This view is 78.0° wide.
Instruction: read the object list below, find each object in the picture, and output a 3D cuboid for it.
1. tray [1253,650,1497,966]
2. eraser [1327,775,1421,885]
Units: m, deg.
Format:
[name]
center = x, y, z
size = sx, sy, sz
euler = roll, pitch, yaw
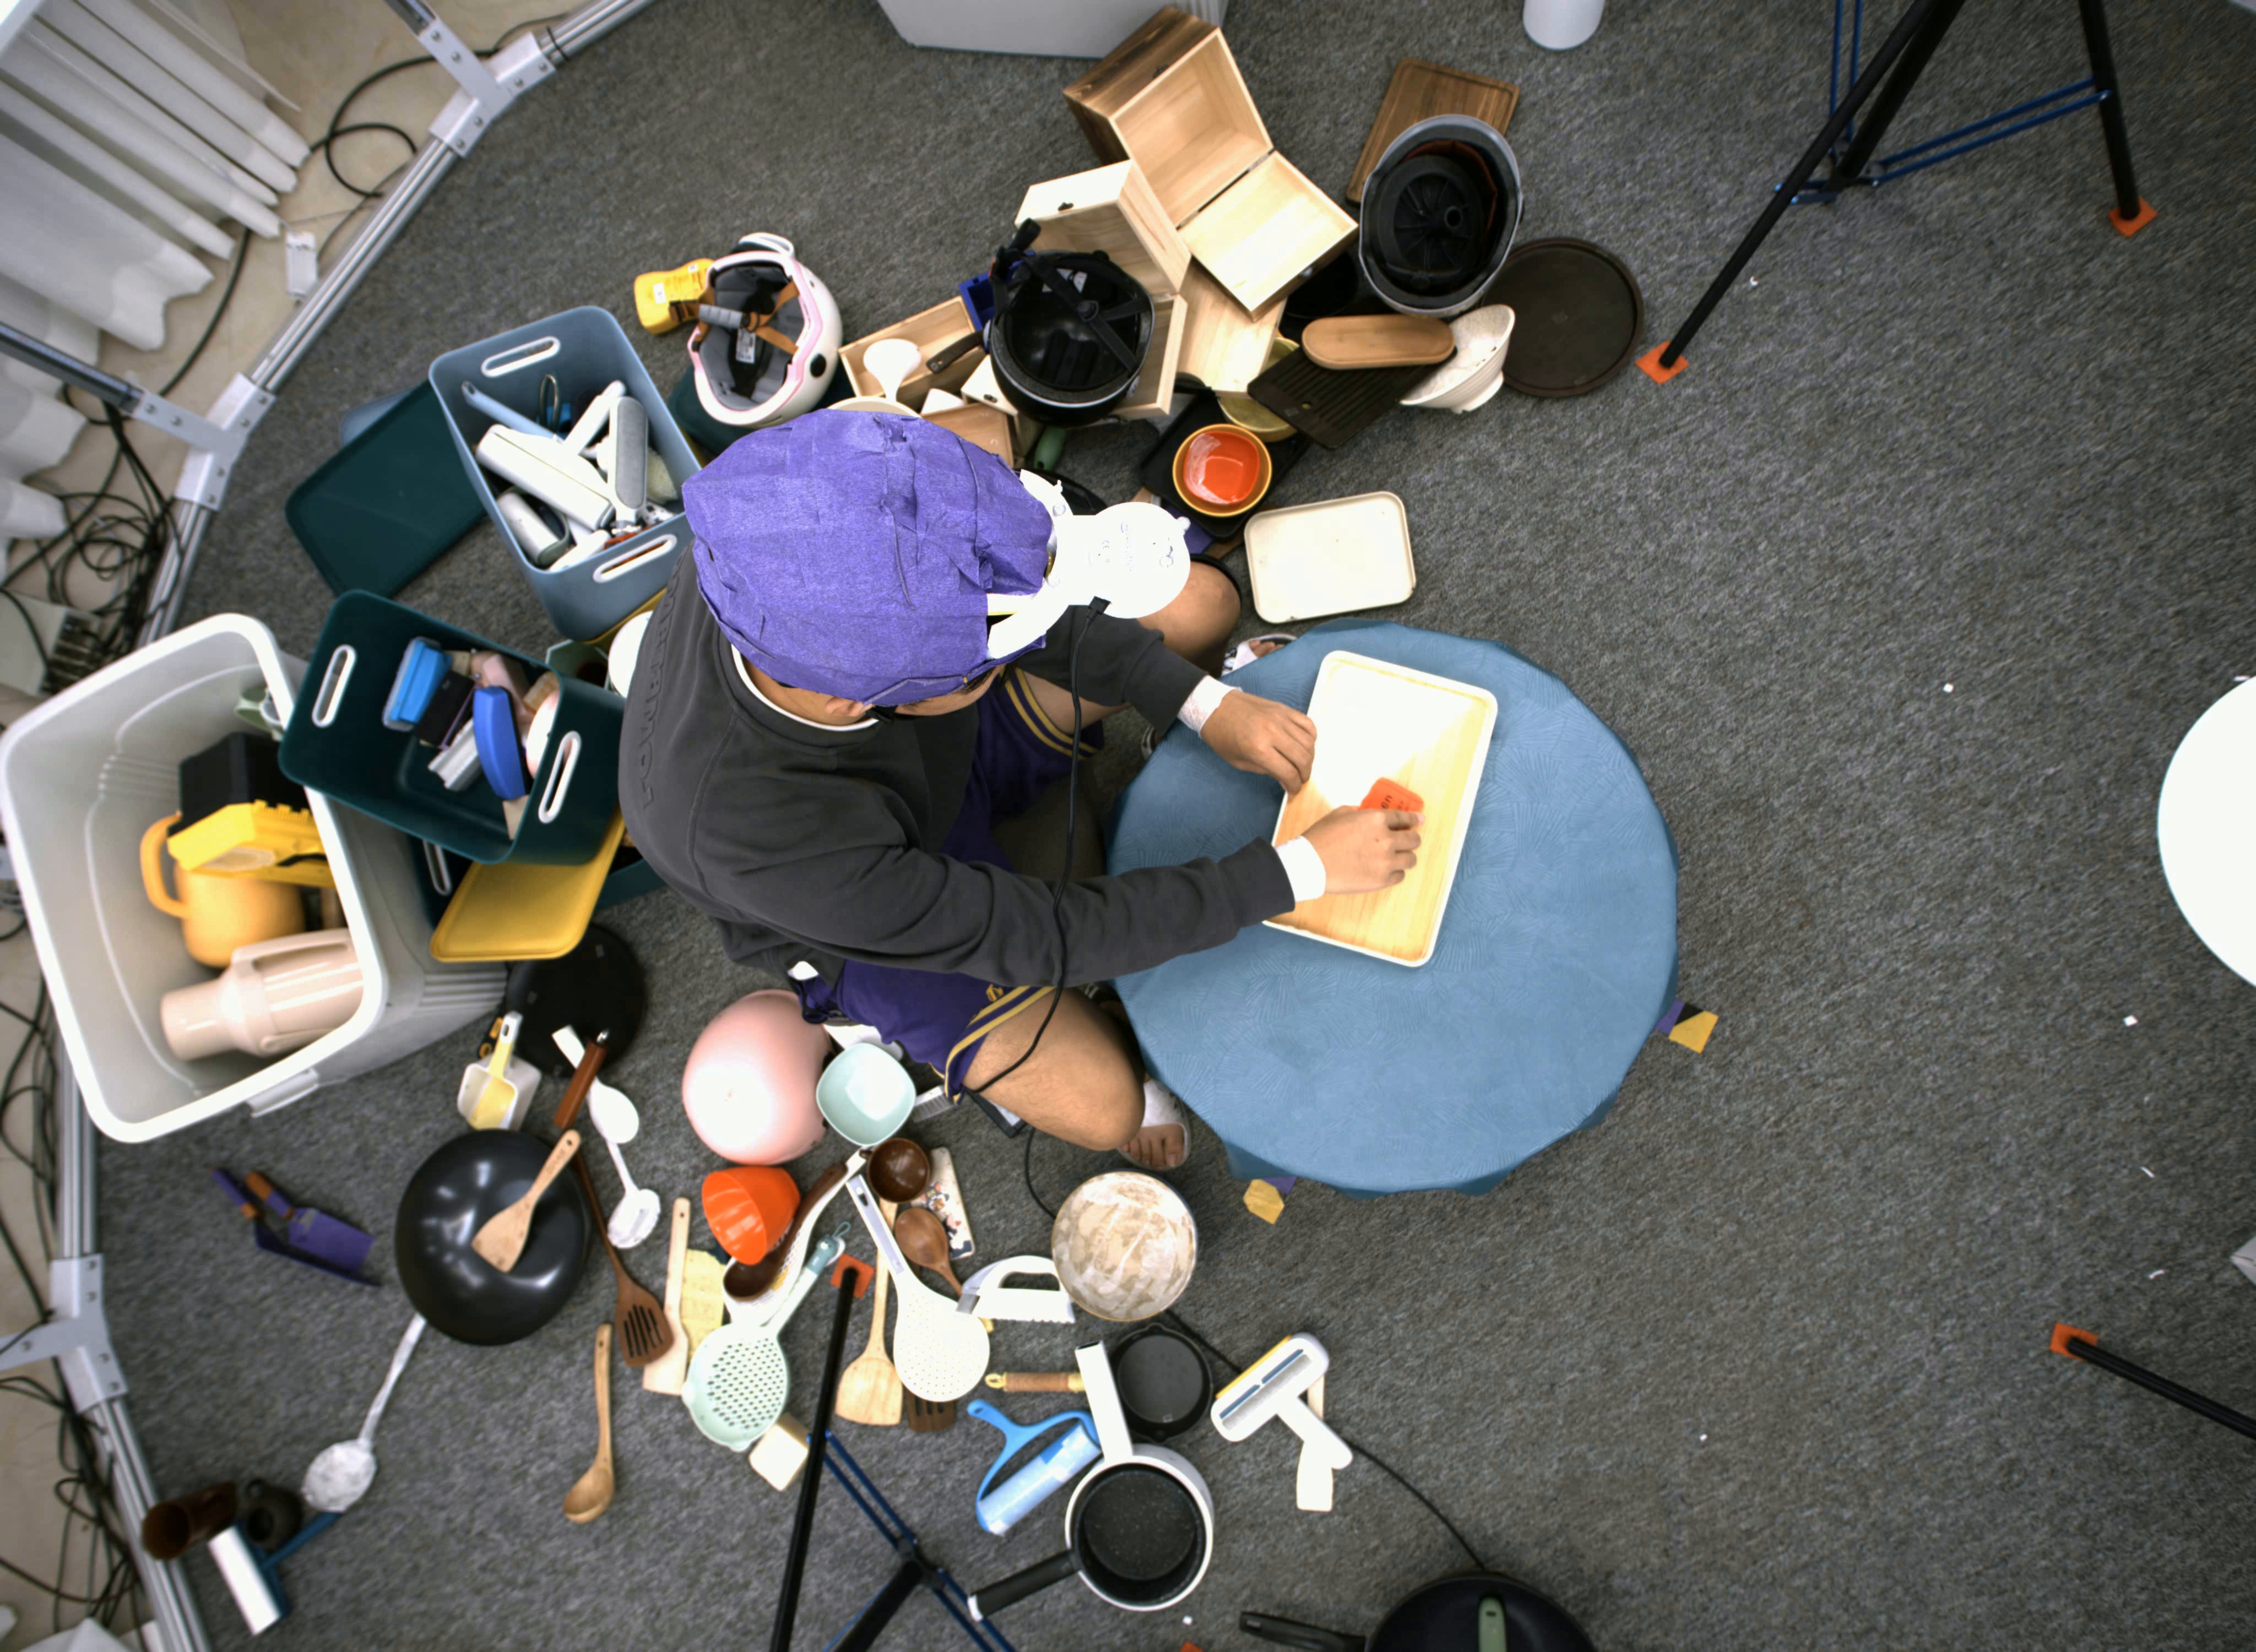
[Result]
[tray]
center = 0.258, -0.021, 1.442
size = 0.192, 0.027, 0.300
euler = 16, 90, 4
[eraser]
center = 0.256, 0.004, 1.434
size = 0.059, 0.023, 0.108
euler = 31, 88, 4
